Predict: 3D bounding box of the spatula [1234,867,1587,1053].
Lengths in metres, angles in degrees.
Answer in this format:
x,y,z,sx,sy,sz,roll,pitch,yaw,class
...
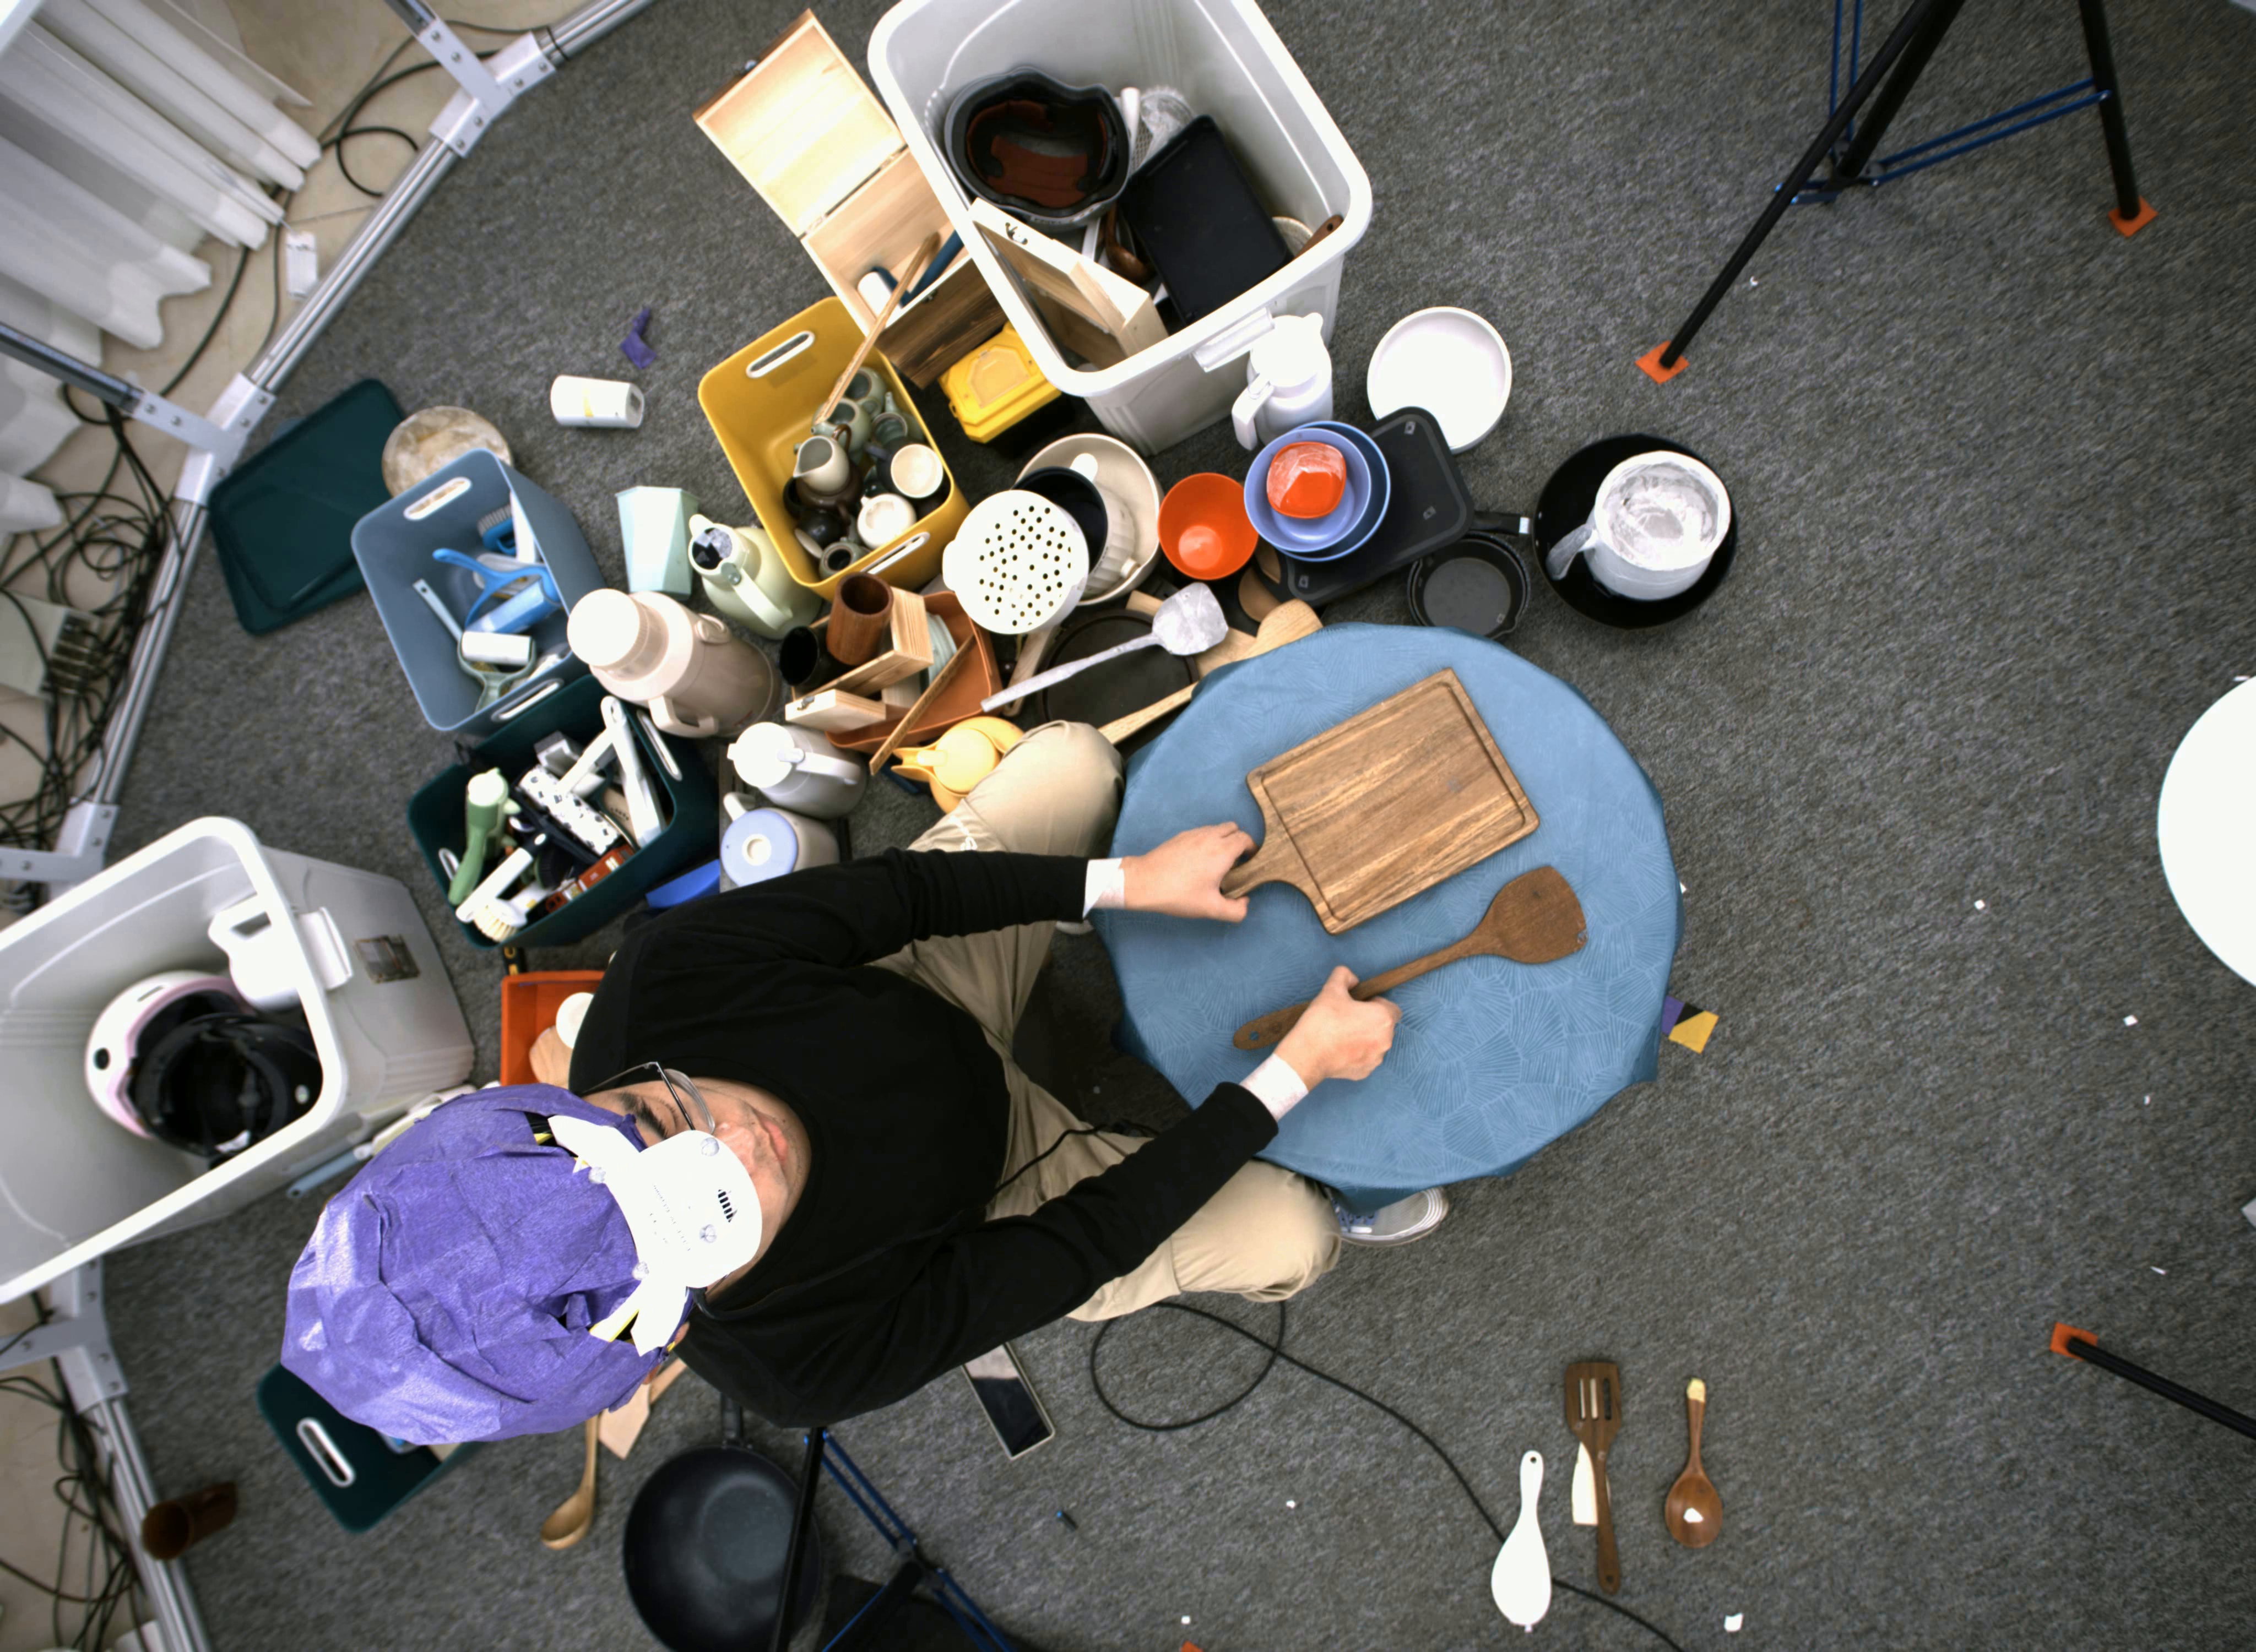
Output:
x,y,z,sx,sy,sz,roll,pitch,yaw,class
0.289,0.152,1.433,0.387,0.016,0.095,-23,82,3,spatula

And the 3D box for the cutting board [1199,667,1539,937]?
x,y,z,sx,sy,sz,roll,pitch,yaw,class
0.231,-0.004,1.449,0.353,0.023,0.200,-29,82,4,cutting board
